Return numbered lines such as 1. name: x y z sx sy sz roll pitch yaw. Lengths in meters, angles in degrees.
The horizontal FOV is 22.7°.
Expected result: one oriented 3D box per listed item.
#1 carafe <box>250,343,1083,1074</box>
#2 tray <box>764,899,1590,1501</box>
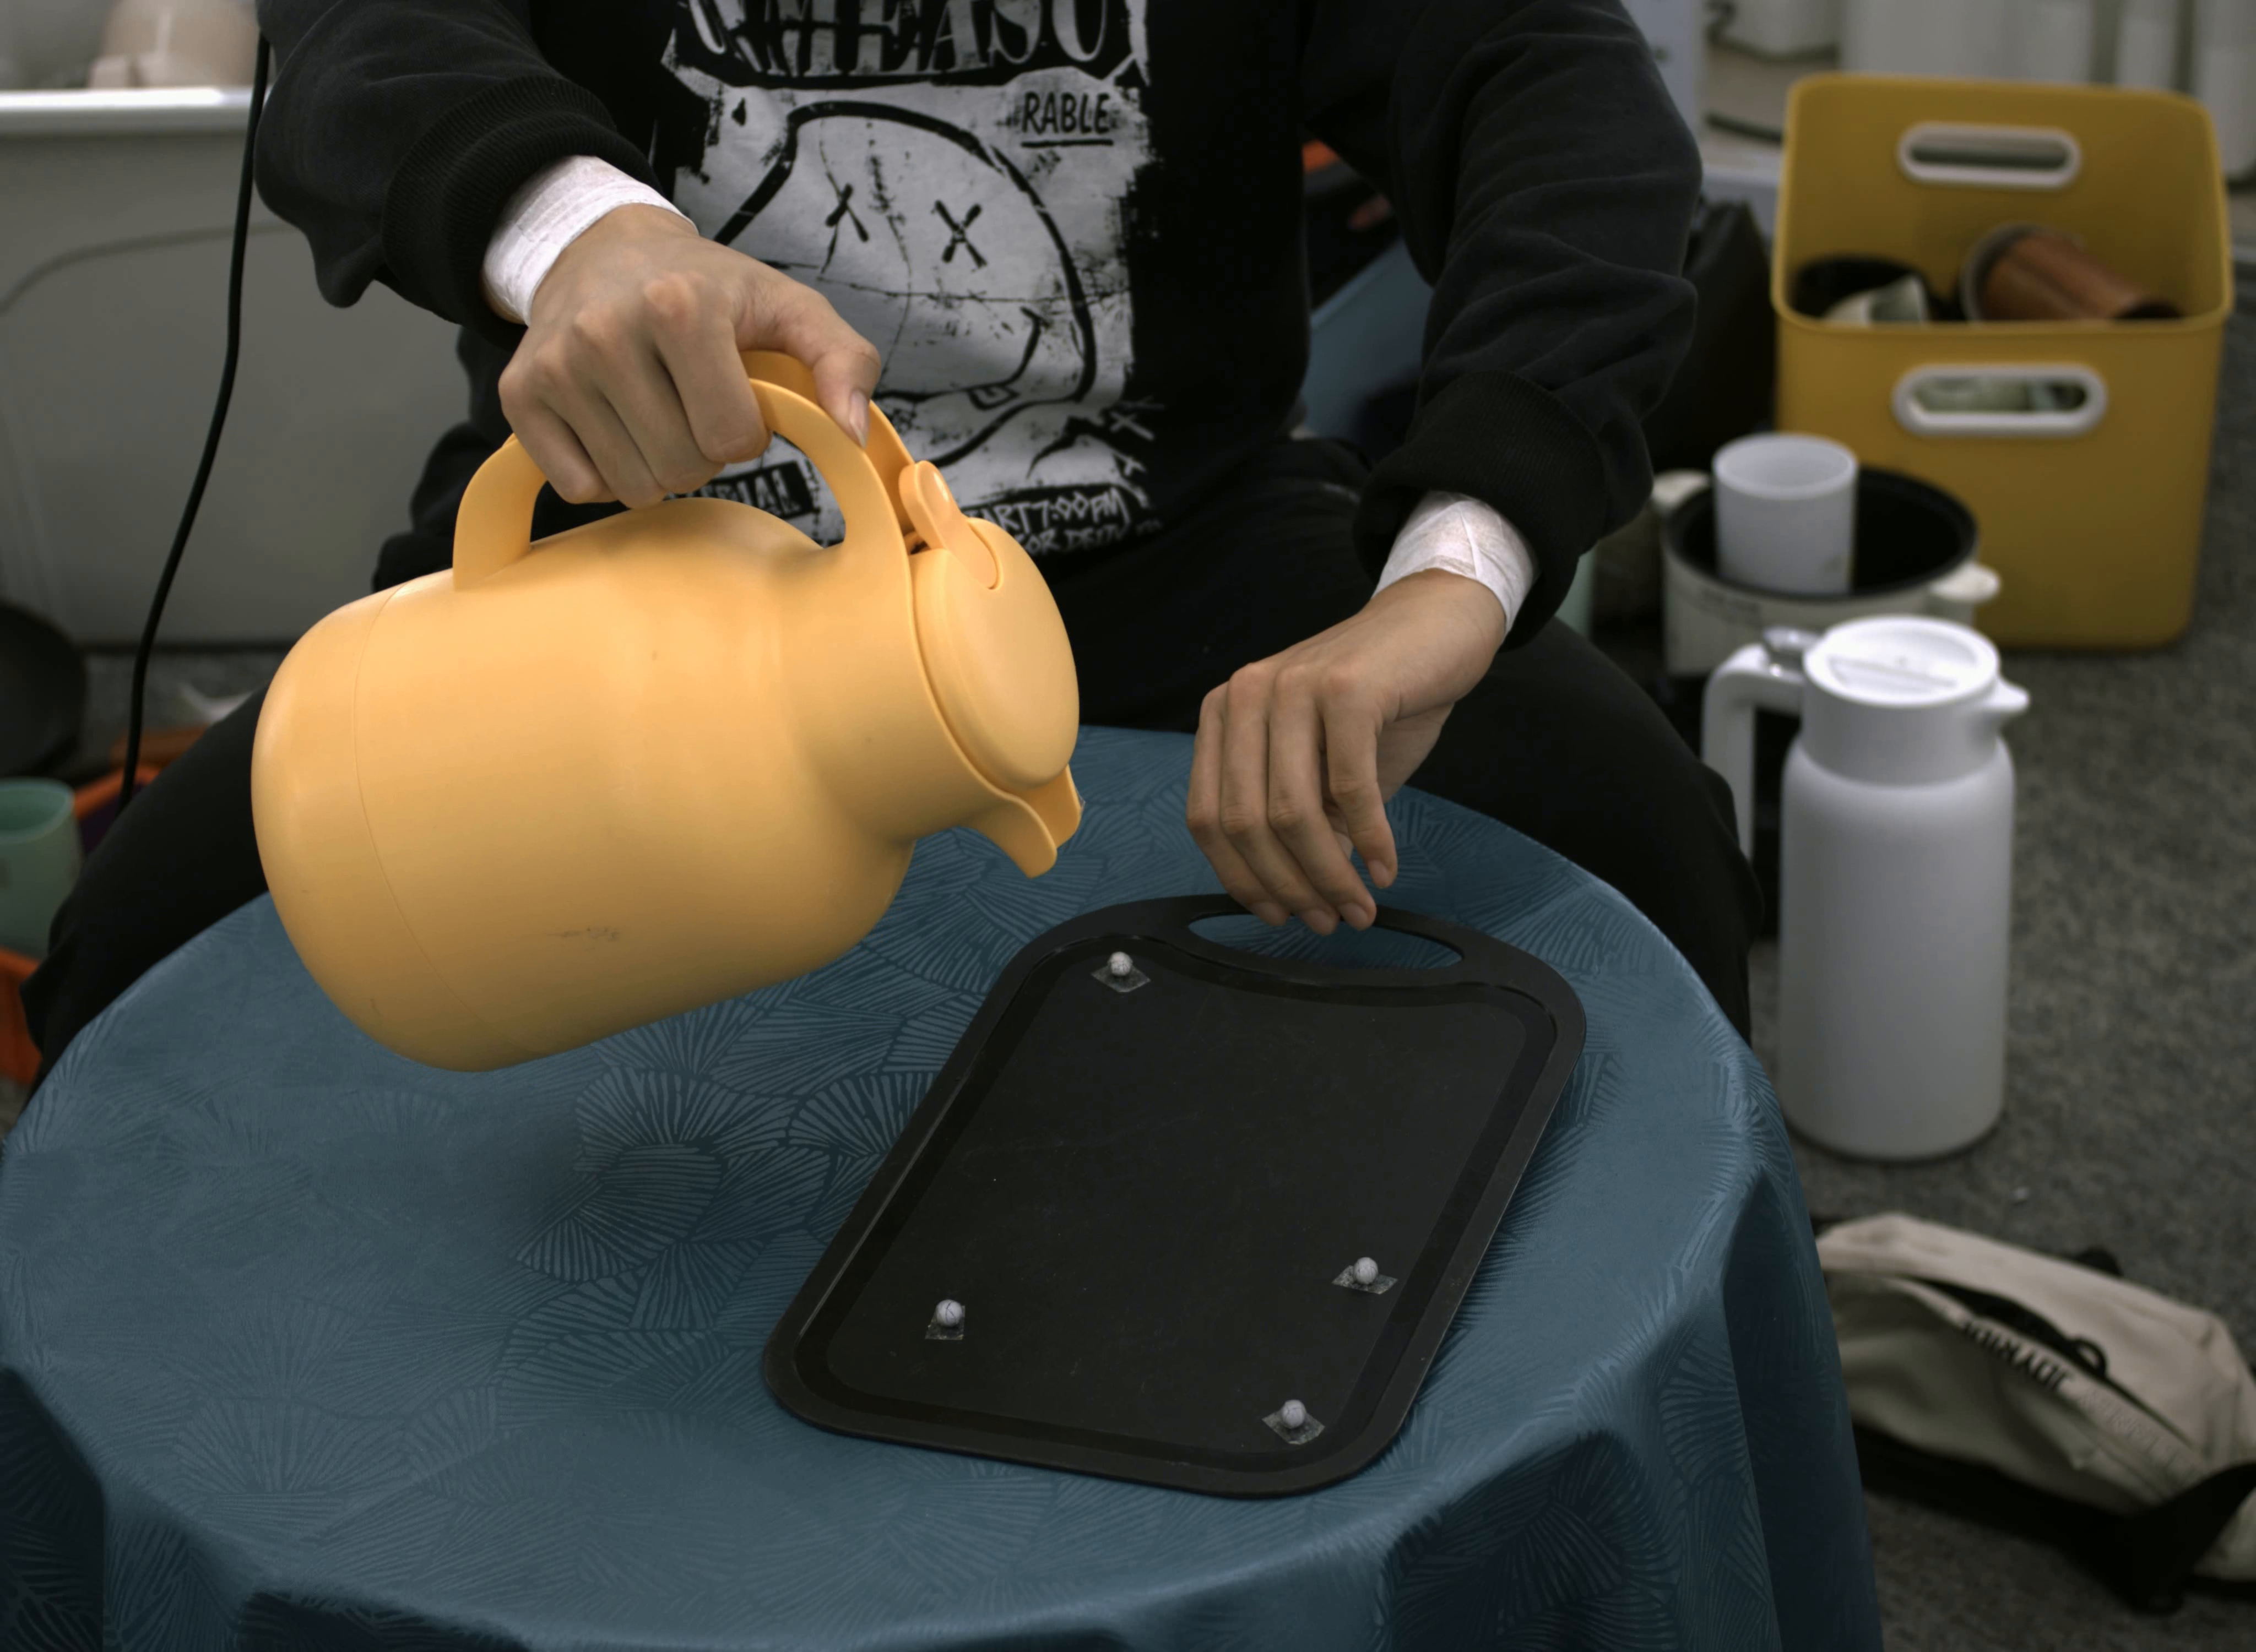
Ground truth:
1. carafe: -0.150 -0.041 1.808 0.257 0.201 0.166 -17 15 21
2. tray: 0.023 0.111 1.847 0.209 0.009 0.331 8 33 18
